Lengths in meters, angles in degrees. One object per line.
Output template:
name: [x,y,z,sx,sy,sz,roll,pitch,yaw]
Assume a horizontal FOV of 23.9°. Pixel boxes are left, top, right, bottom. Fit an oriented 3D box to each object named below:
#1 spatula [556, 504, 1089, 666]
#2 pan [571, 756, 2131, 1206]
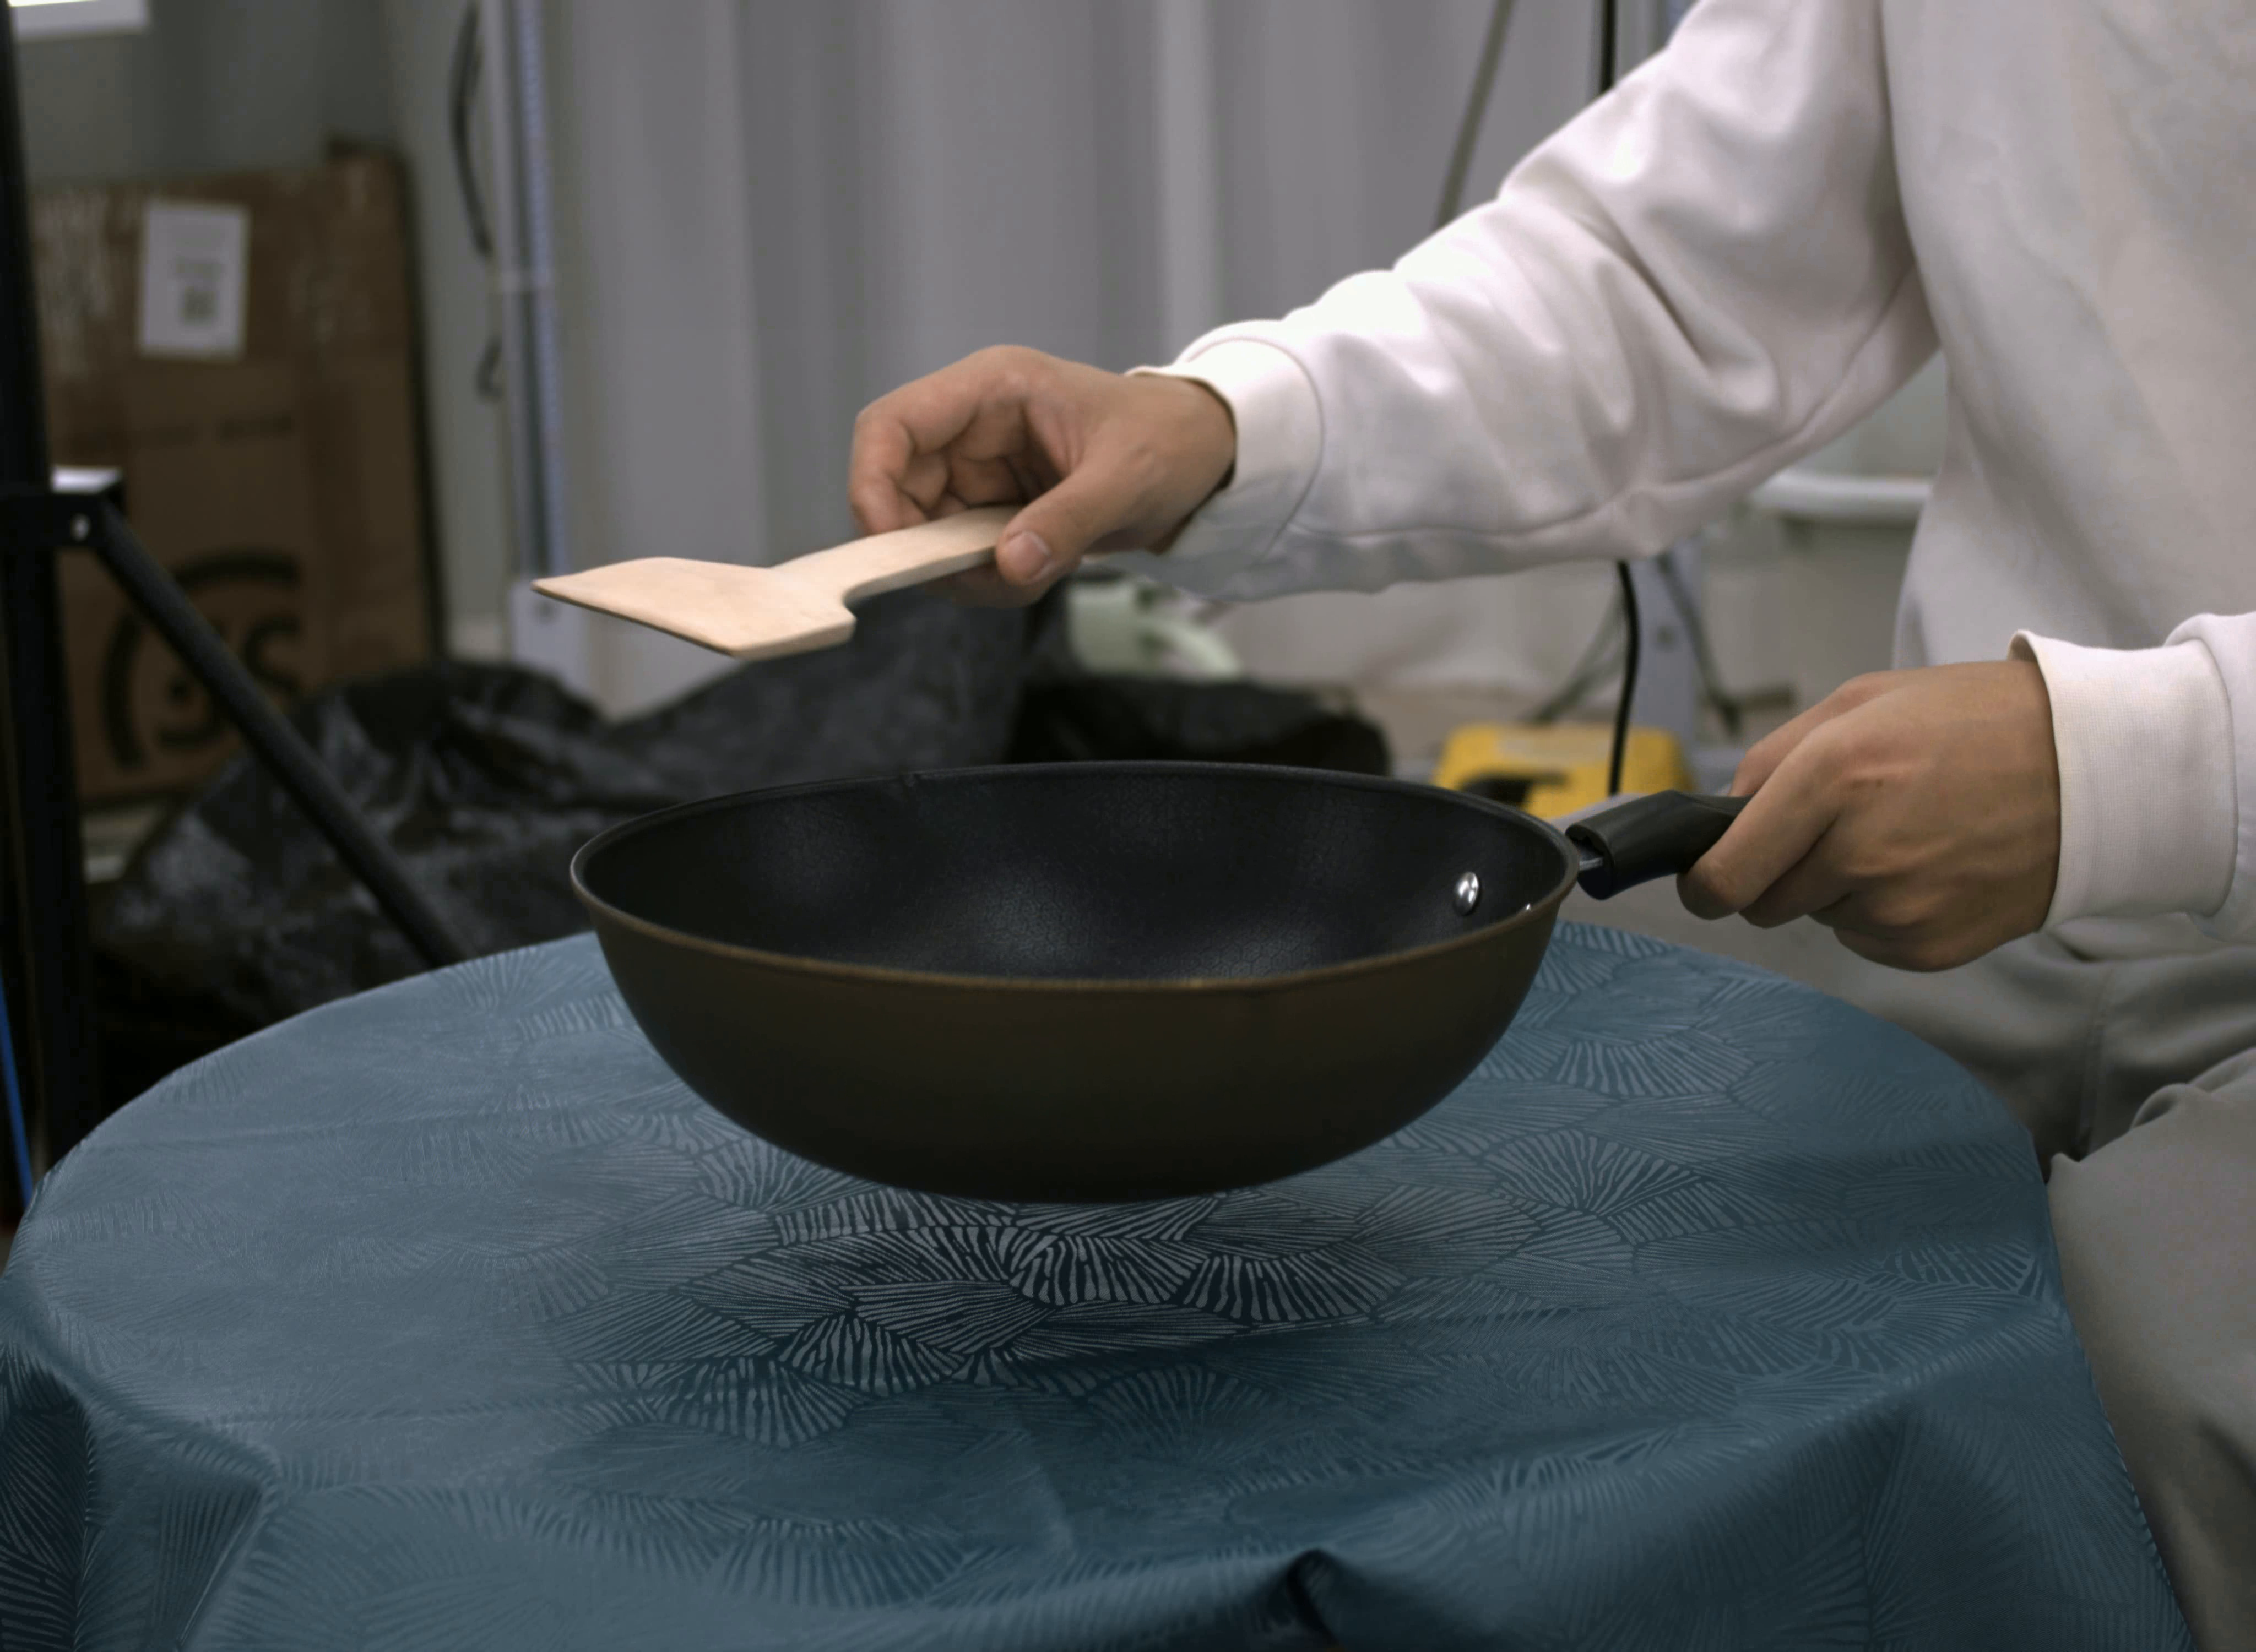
spatula: [-0.081,-0.079,1.648,0.073,0.011,0.288,18,16,20]
pan: [0.071,0.039,1.498,0.455,0.087,0.293,-4,12,-18]
